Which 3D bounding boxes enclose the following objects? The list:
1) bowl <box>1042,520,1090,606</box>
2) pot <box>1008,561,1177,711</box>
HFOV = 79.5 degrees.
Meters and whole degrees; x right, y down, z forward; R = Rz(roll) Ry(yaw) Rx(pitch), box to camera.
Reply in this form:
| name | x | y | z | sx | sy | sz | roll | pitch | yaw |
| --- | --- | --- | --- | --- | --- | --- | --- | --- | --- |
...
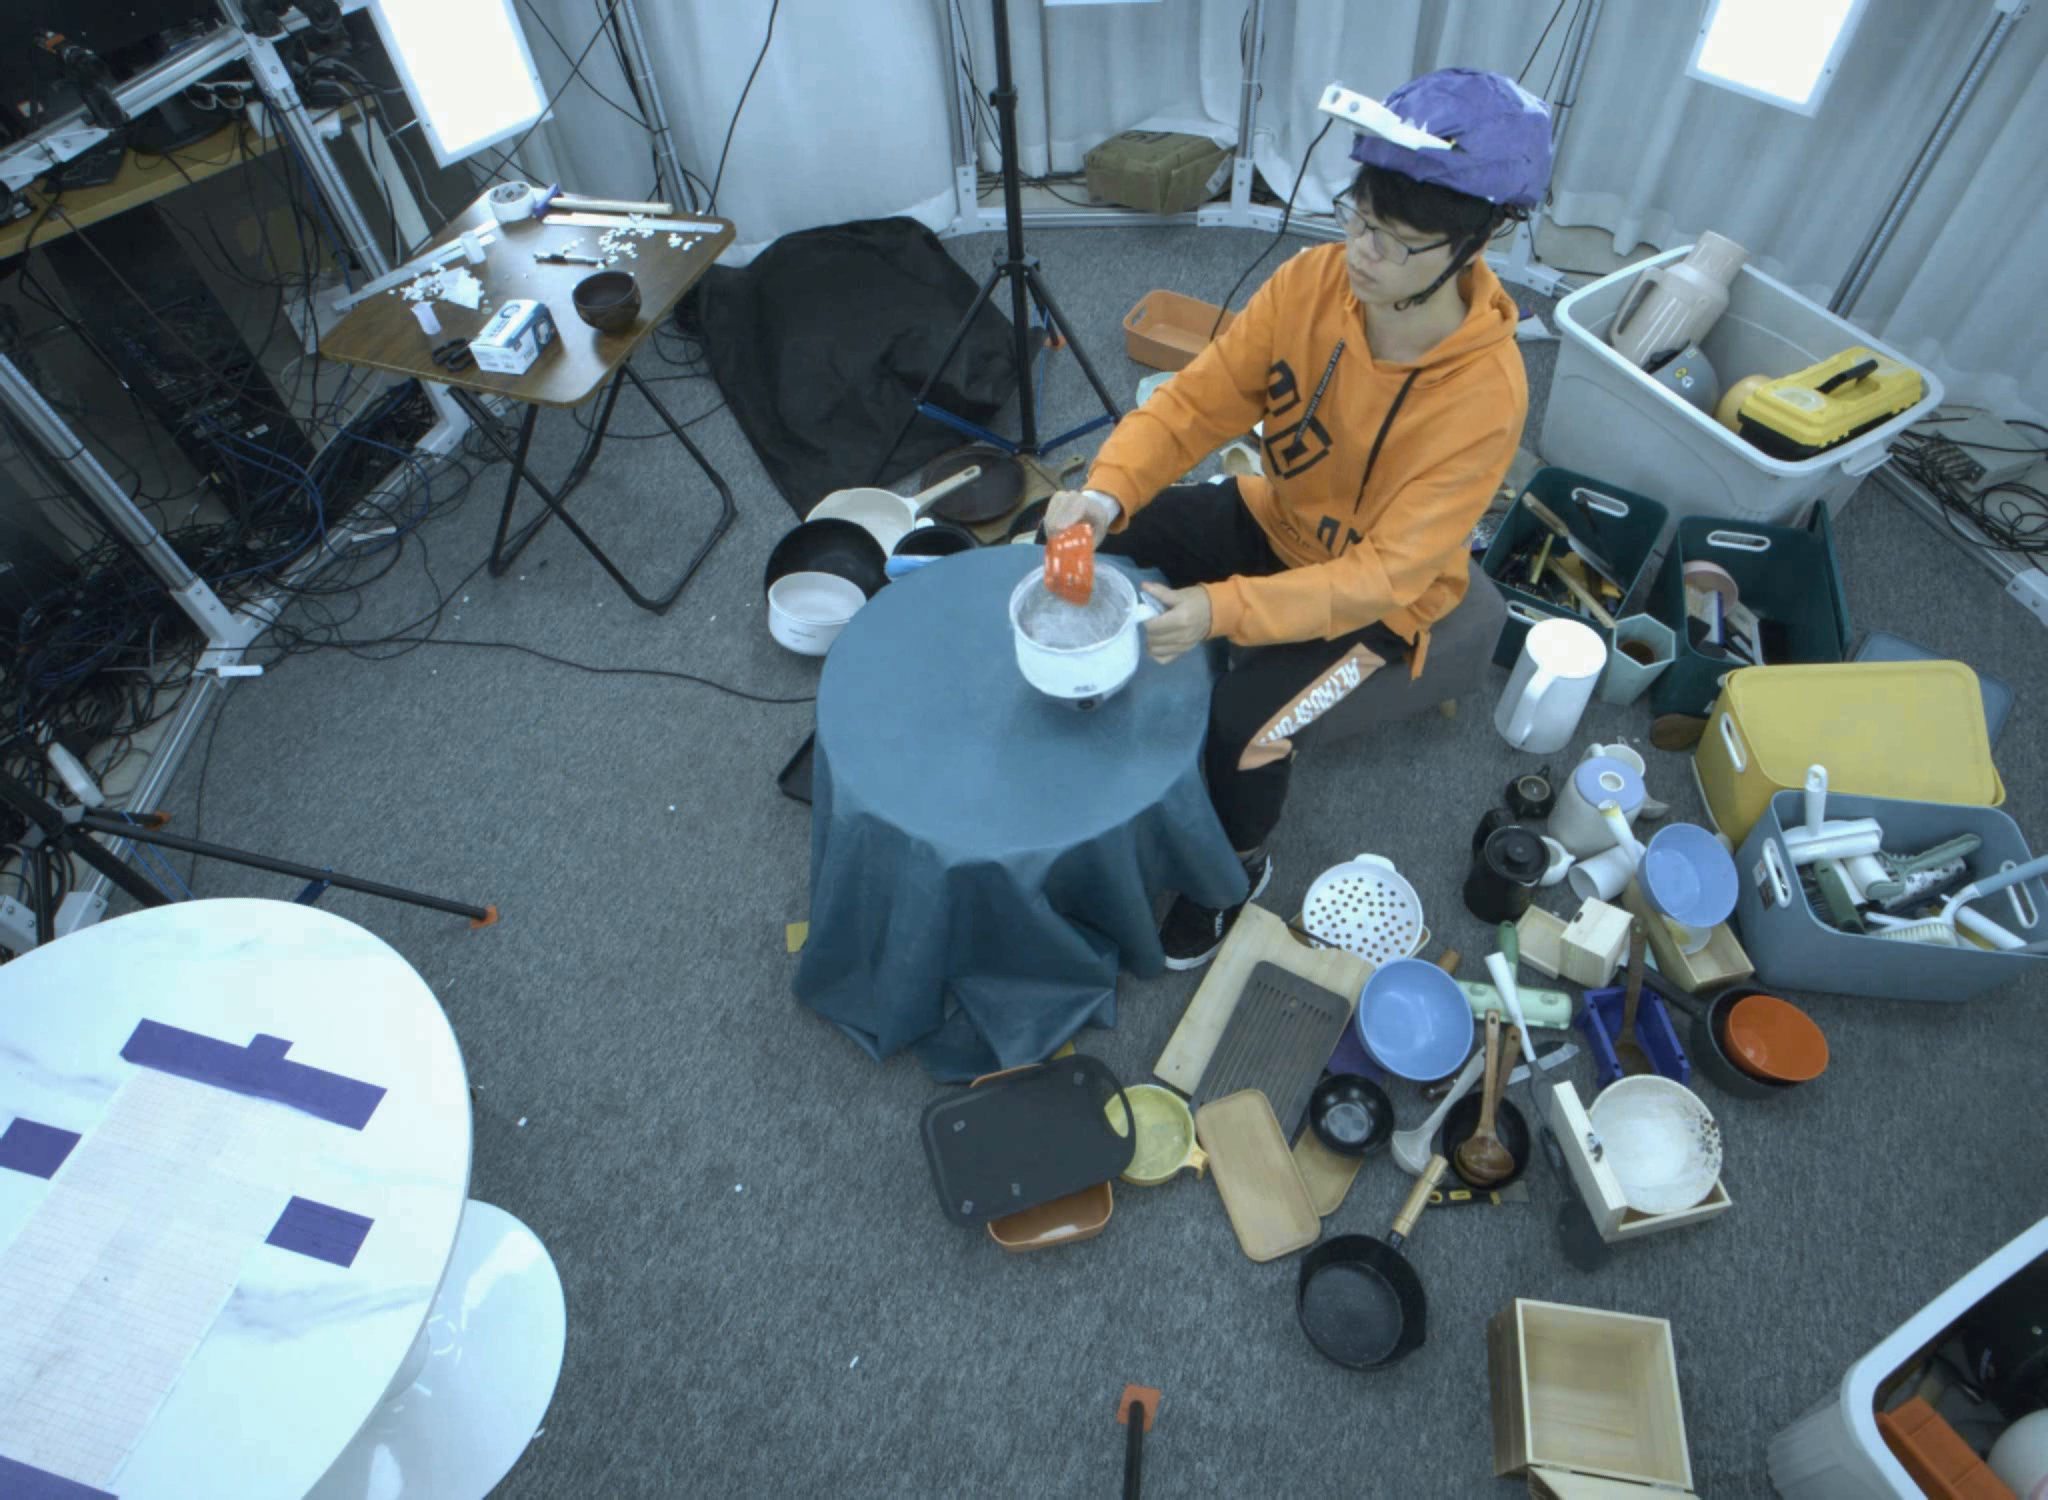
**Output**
| name | x | y | z | sx | sy | sz | roll | pitch | yaw |
| --- | --- | --- | --- | --- | --- | --- | --- | --- | --- |
| bowl | 0.053 | -0.250 | 1.641 | 0.052 | 0.119 | 0.117 | 0 | 55 | -7 |
| pot | 0.100 | -0.167 | 1.748 | 0.234 | 0.138 | 0.176 | -10 | 55 | -1 |
